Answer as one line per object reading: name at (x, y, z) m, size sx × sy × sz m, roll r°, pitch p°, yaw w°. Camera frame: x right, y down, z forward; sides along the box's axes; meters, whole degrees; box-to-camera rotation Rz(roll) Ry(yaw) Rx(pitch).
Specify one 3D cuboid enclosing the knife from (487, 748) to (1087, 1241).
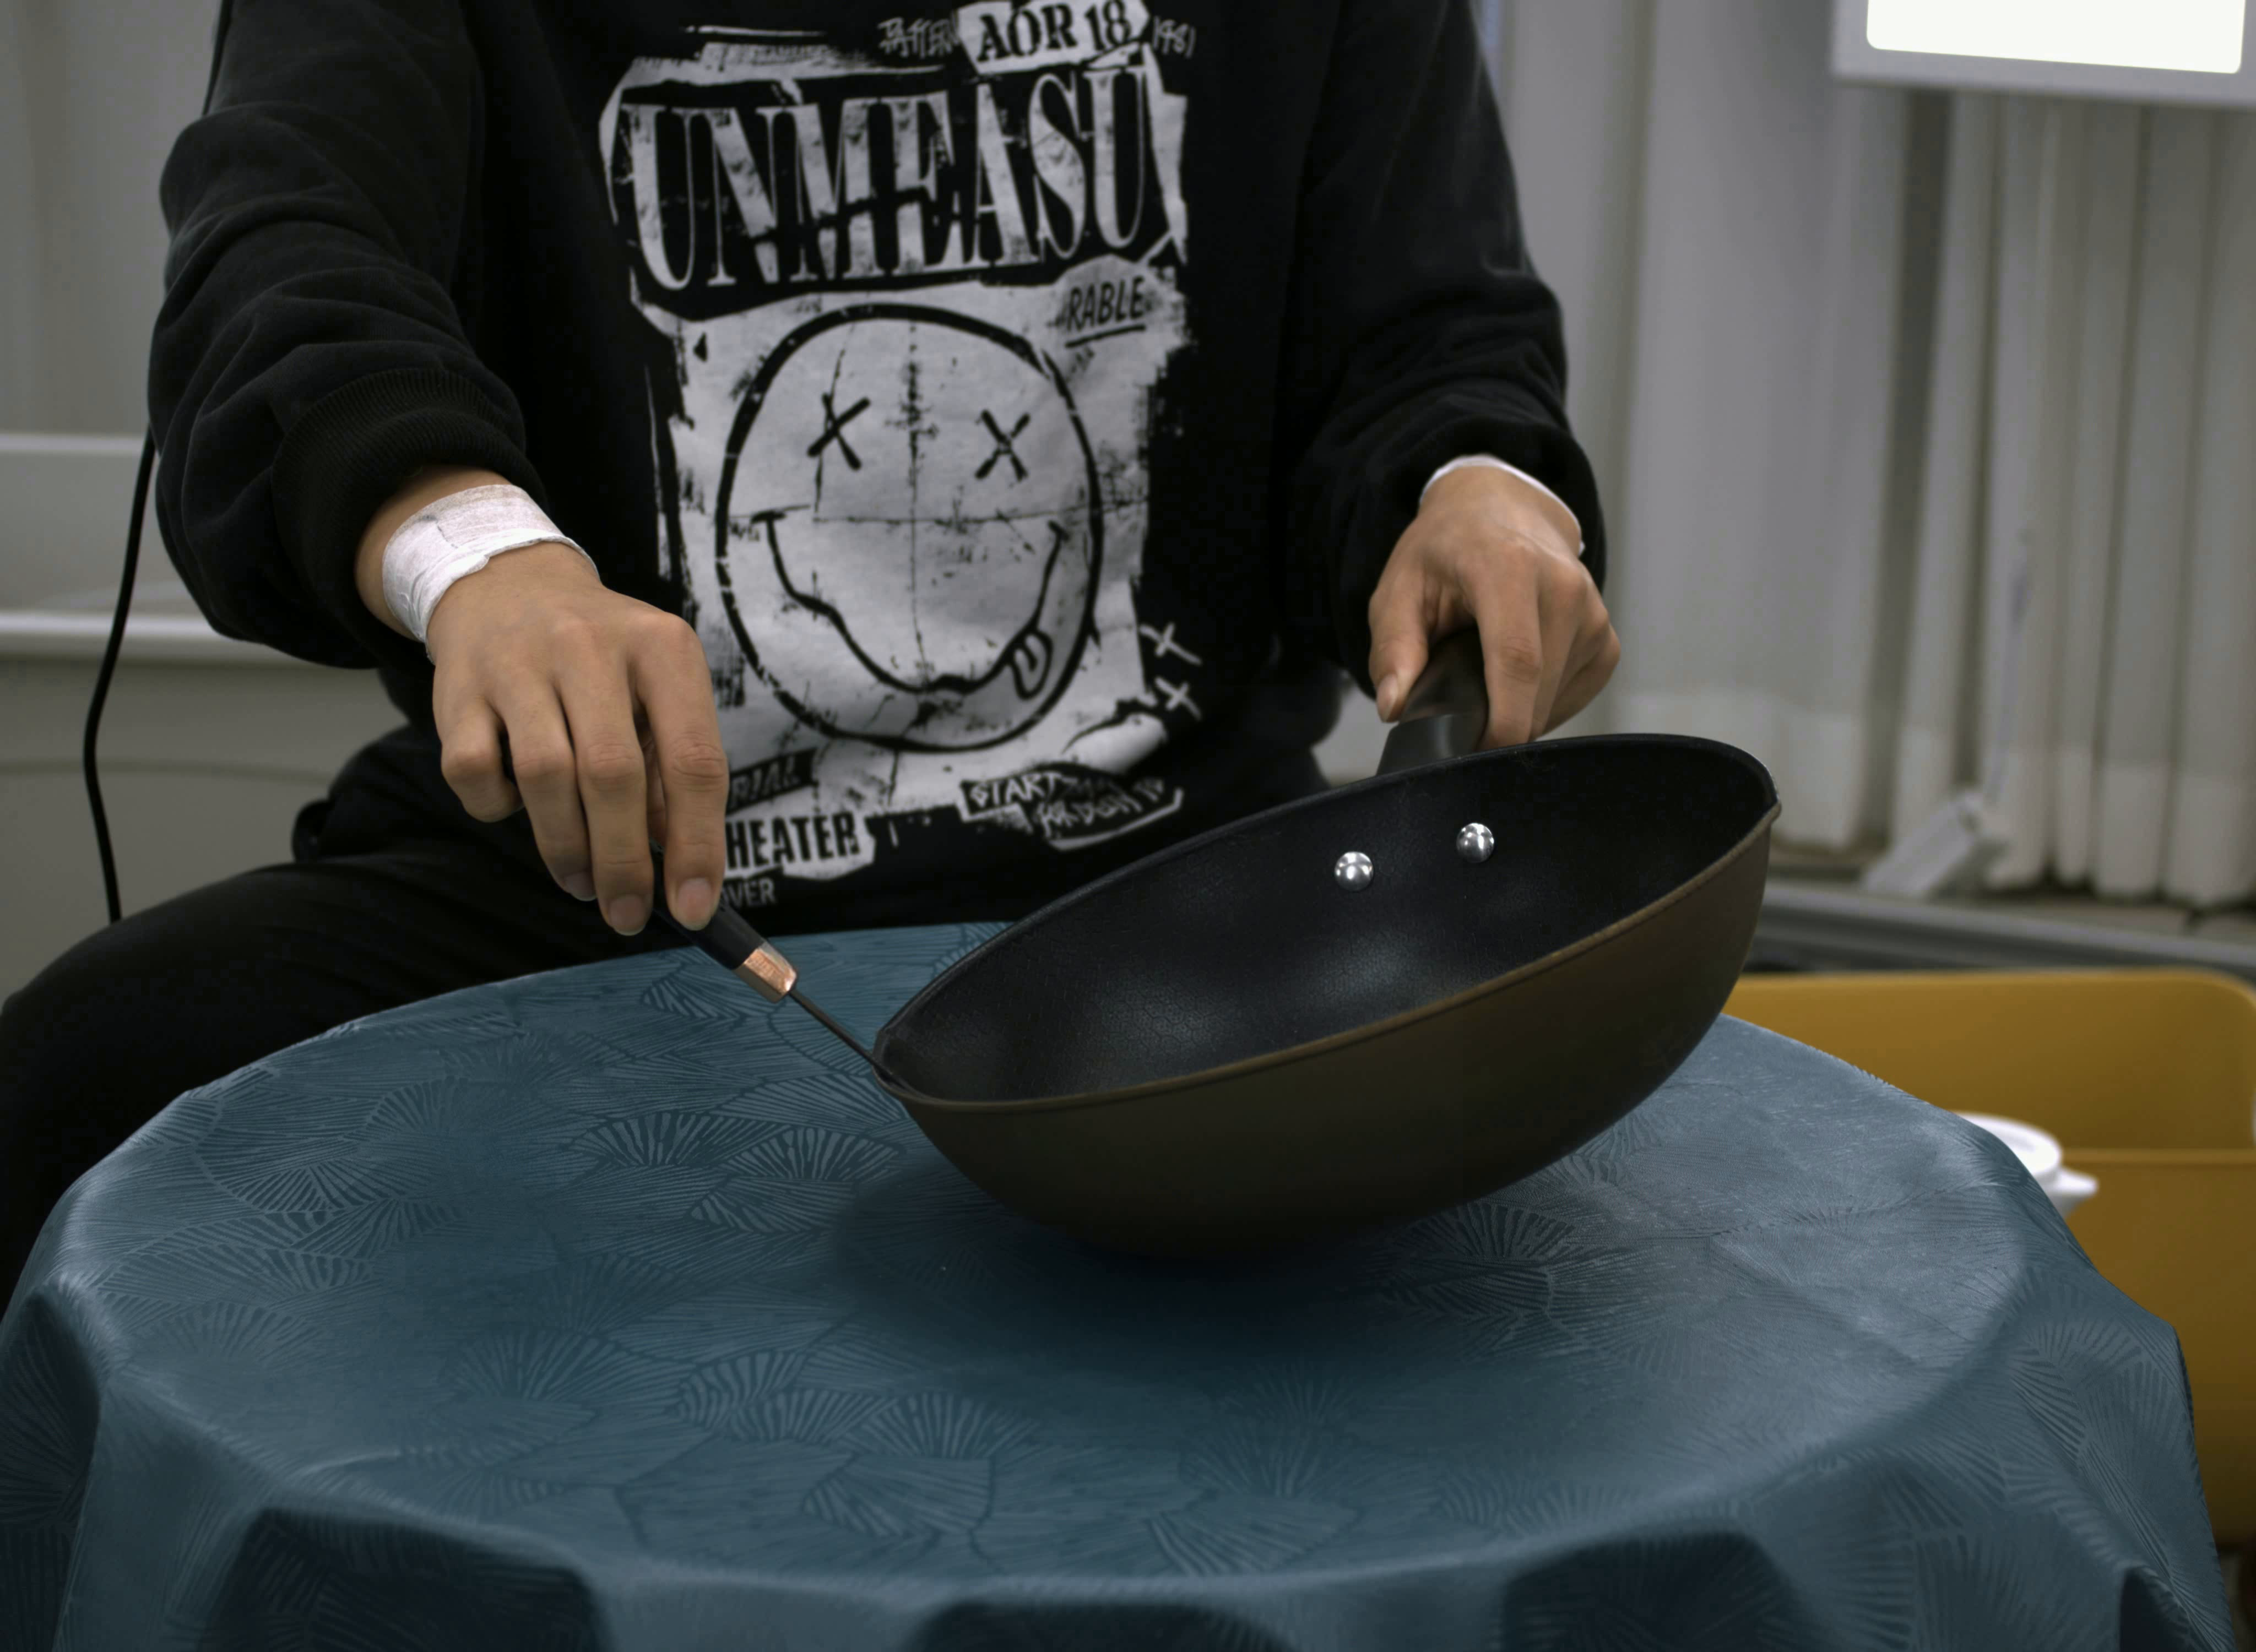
knife at (-0.099, 0.051, 1.555) m, size 0.225 × 0.017 × 0.026 m, roll 39°, pitch -12°, yaw -2°

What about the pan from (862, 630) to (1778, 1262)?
pan at (0.087, 0.035, 1.662) m, size 0.286 × 0.087 × 0.462 m, roll -14°, pitch 13°, yaw 17°
